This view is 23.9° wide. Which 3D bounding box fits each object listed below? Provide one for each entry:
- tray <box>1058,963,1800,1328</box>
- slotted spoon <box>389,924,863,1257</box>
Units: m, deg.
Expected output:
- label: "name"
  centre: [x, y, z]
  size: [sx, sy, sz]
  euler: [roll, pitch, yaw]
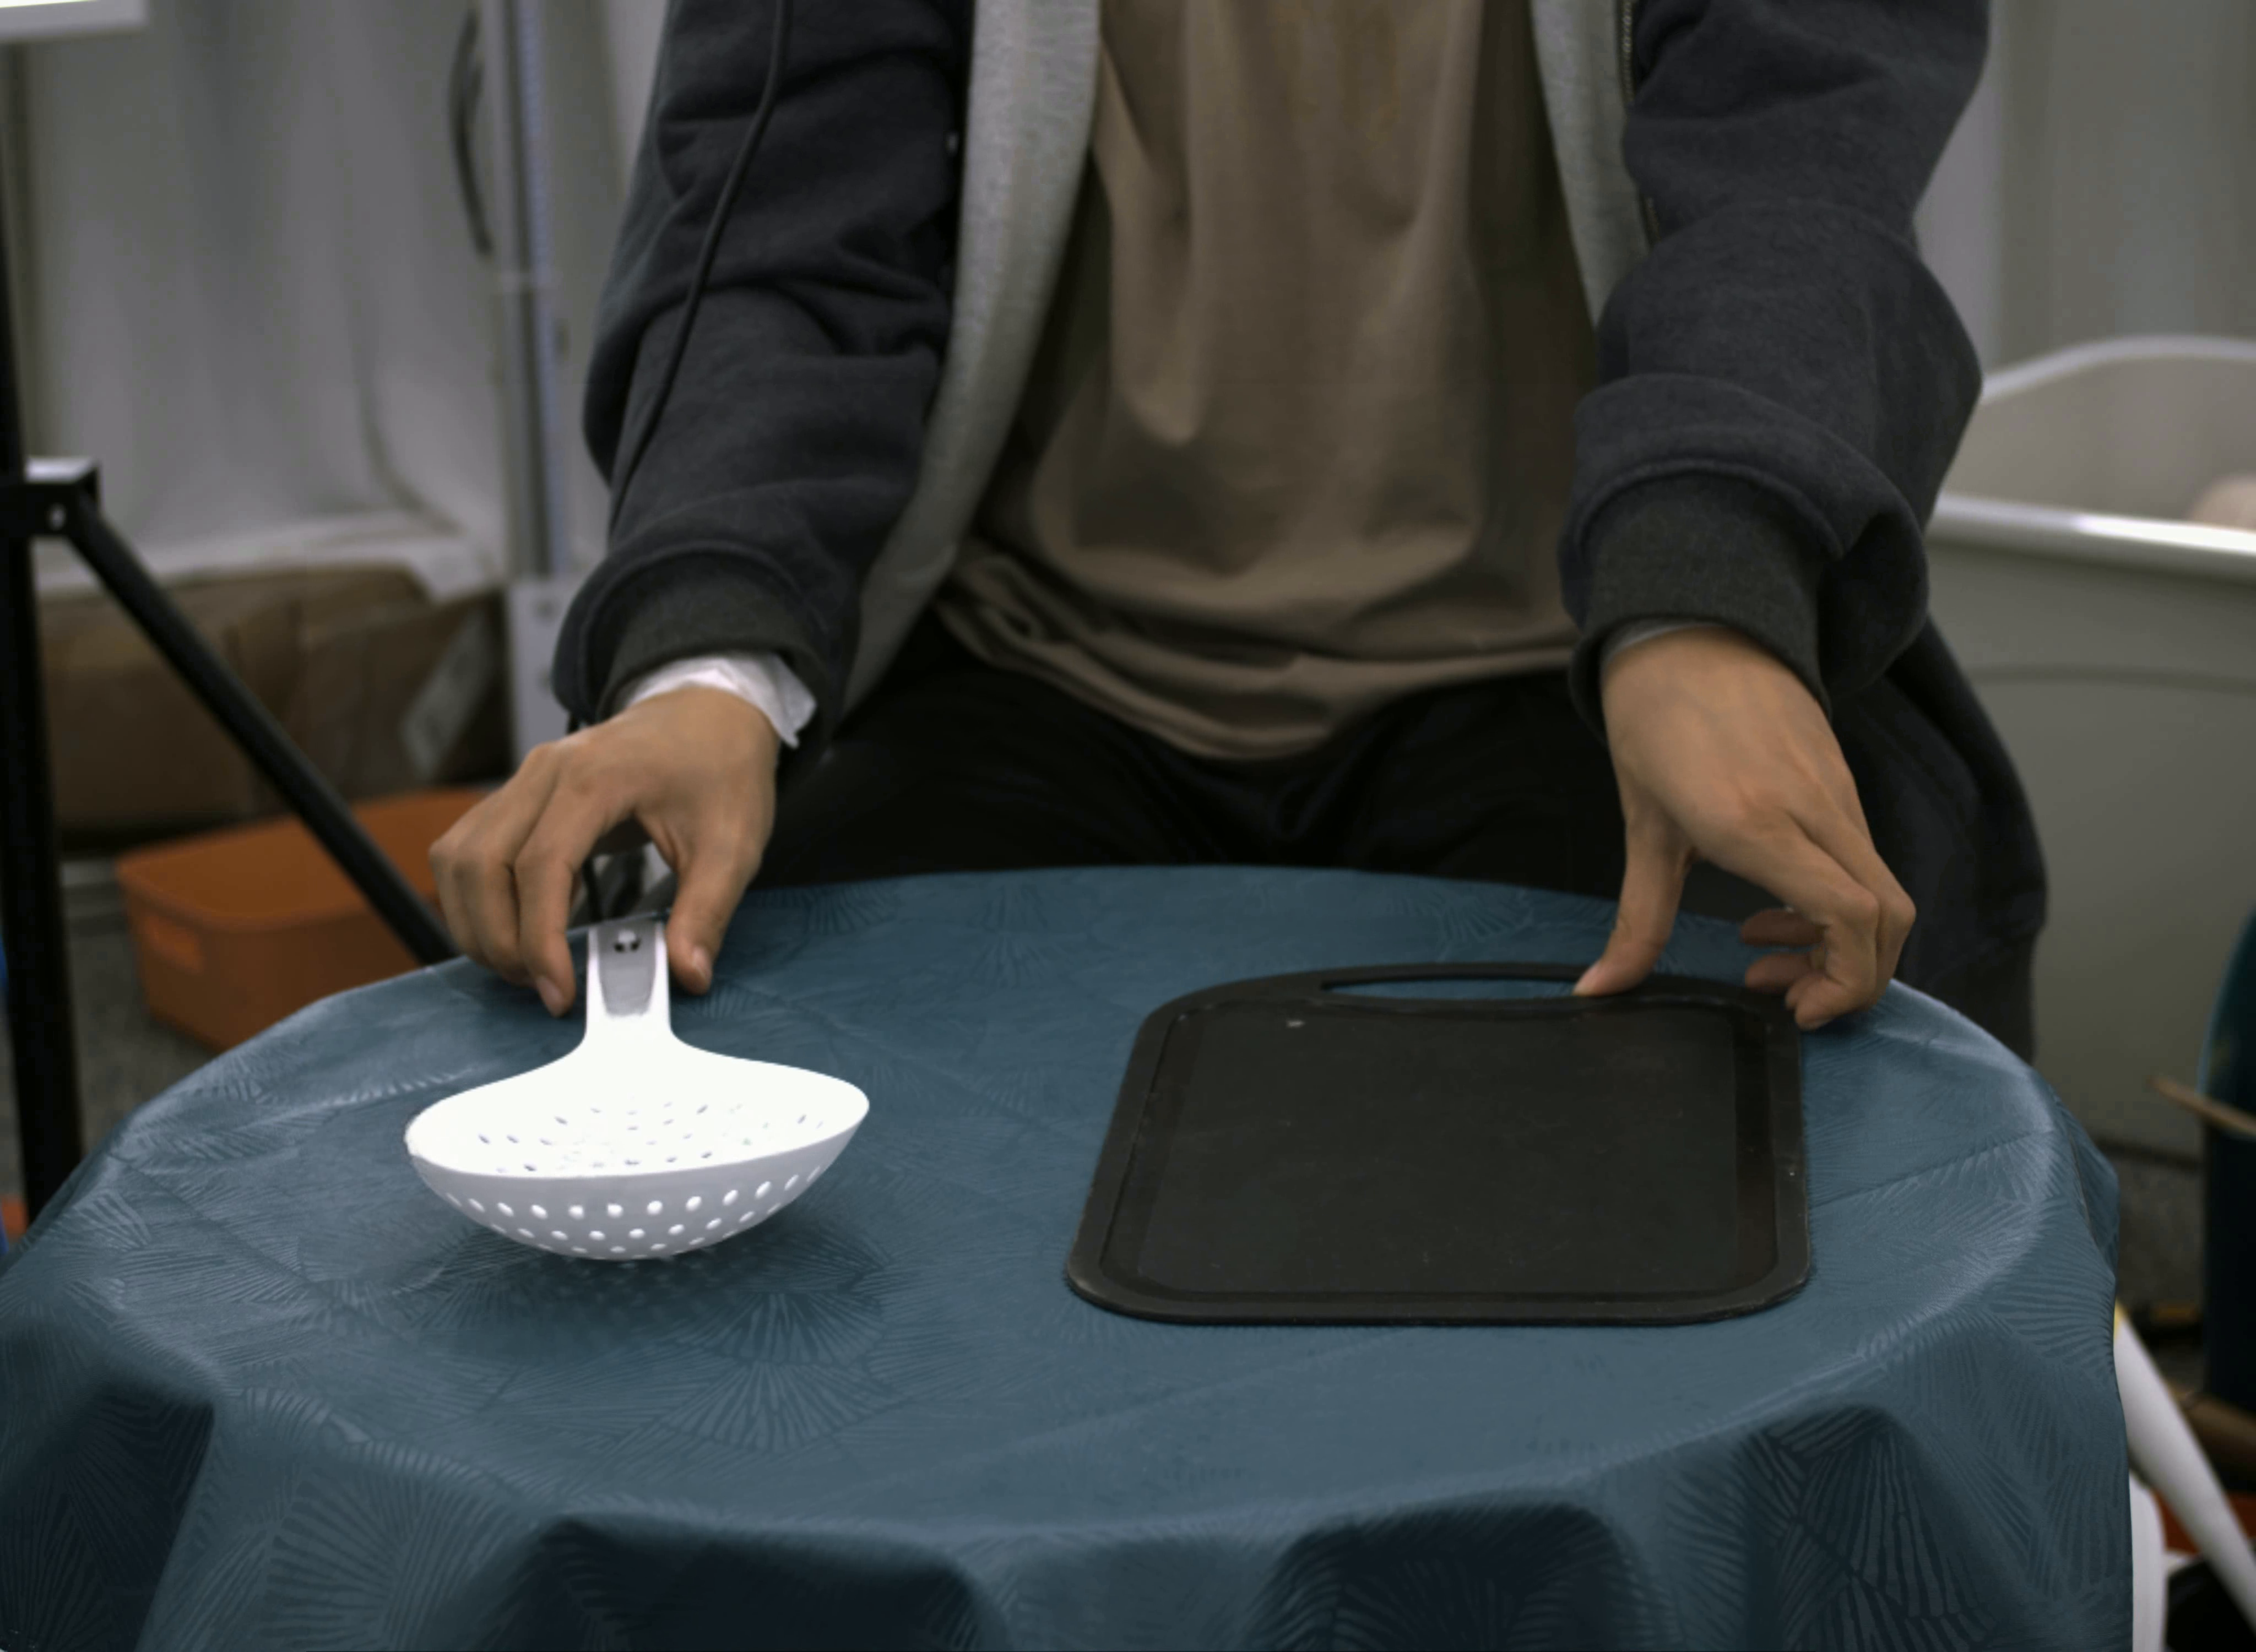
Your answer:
- label: "tray"
  centre: [0.096, 0.090, 1.597]
  size: [0.211, 0.010, 0.325]
  euler: [-1, 16, 7]
- label: "slotted spoon"
  centre: [-0.154, 0.071, 1.632]
  size: [0.135, 0.046, 0.352]
  euler: [-3, 15, -5]
